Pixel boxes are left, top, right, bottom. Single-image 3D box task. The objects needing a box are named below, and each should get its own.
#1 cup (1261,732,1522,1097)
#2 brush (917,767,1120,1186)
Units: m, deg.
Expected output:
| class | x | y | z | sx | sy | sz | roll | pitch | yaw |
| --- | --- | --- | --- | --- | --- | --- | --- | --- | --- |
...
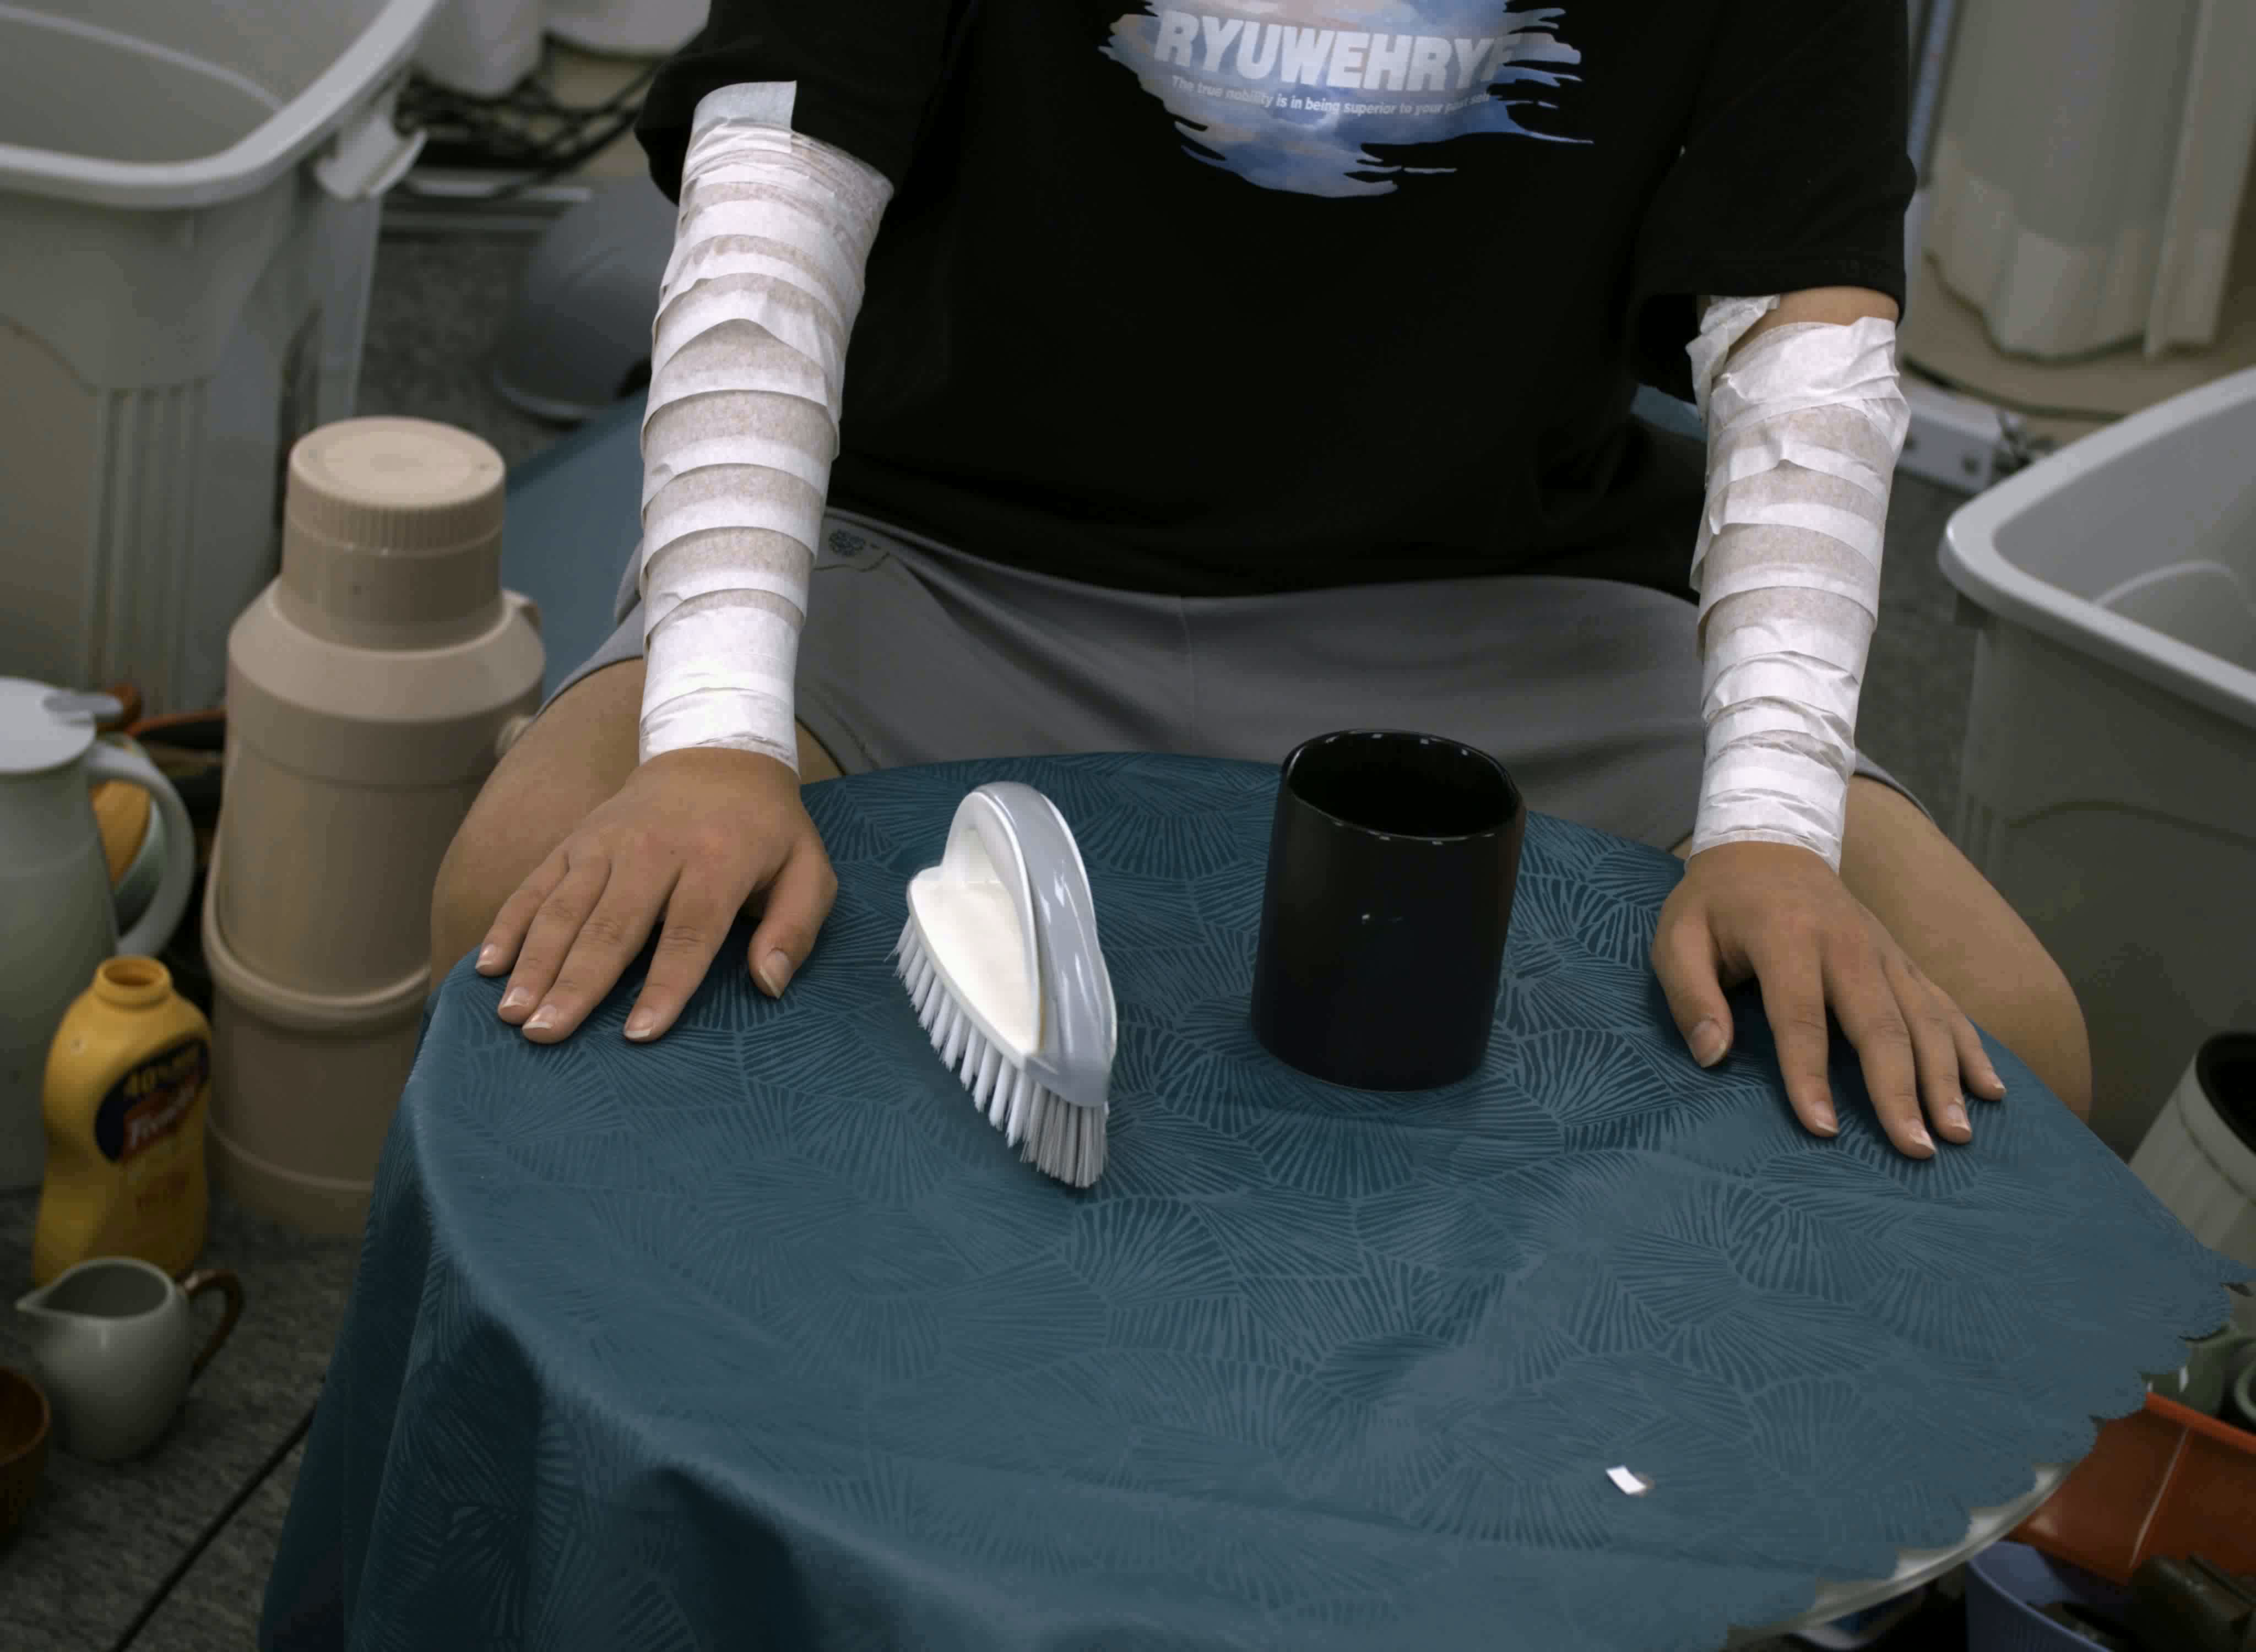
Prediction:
| class | x | y | z | sx | sy | sz | roll | pitch | yaw |
| --- | --- | --- | --- | --- | --- | --- | --- | --- | --- |
| cup | 0.101 | 0.025 | 1.911 | 0.089 | 0.105 | 0.123 | 13 | 26 | 22 |
| brush | -0.031 | 0.044 | 1.853 | 0.061 | 0.094 | 0.177 | -3 | 30 | -14 |
